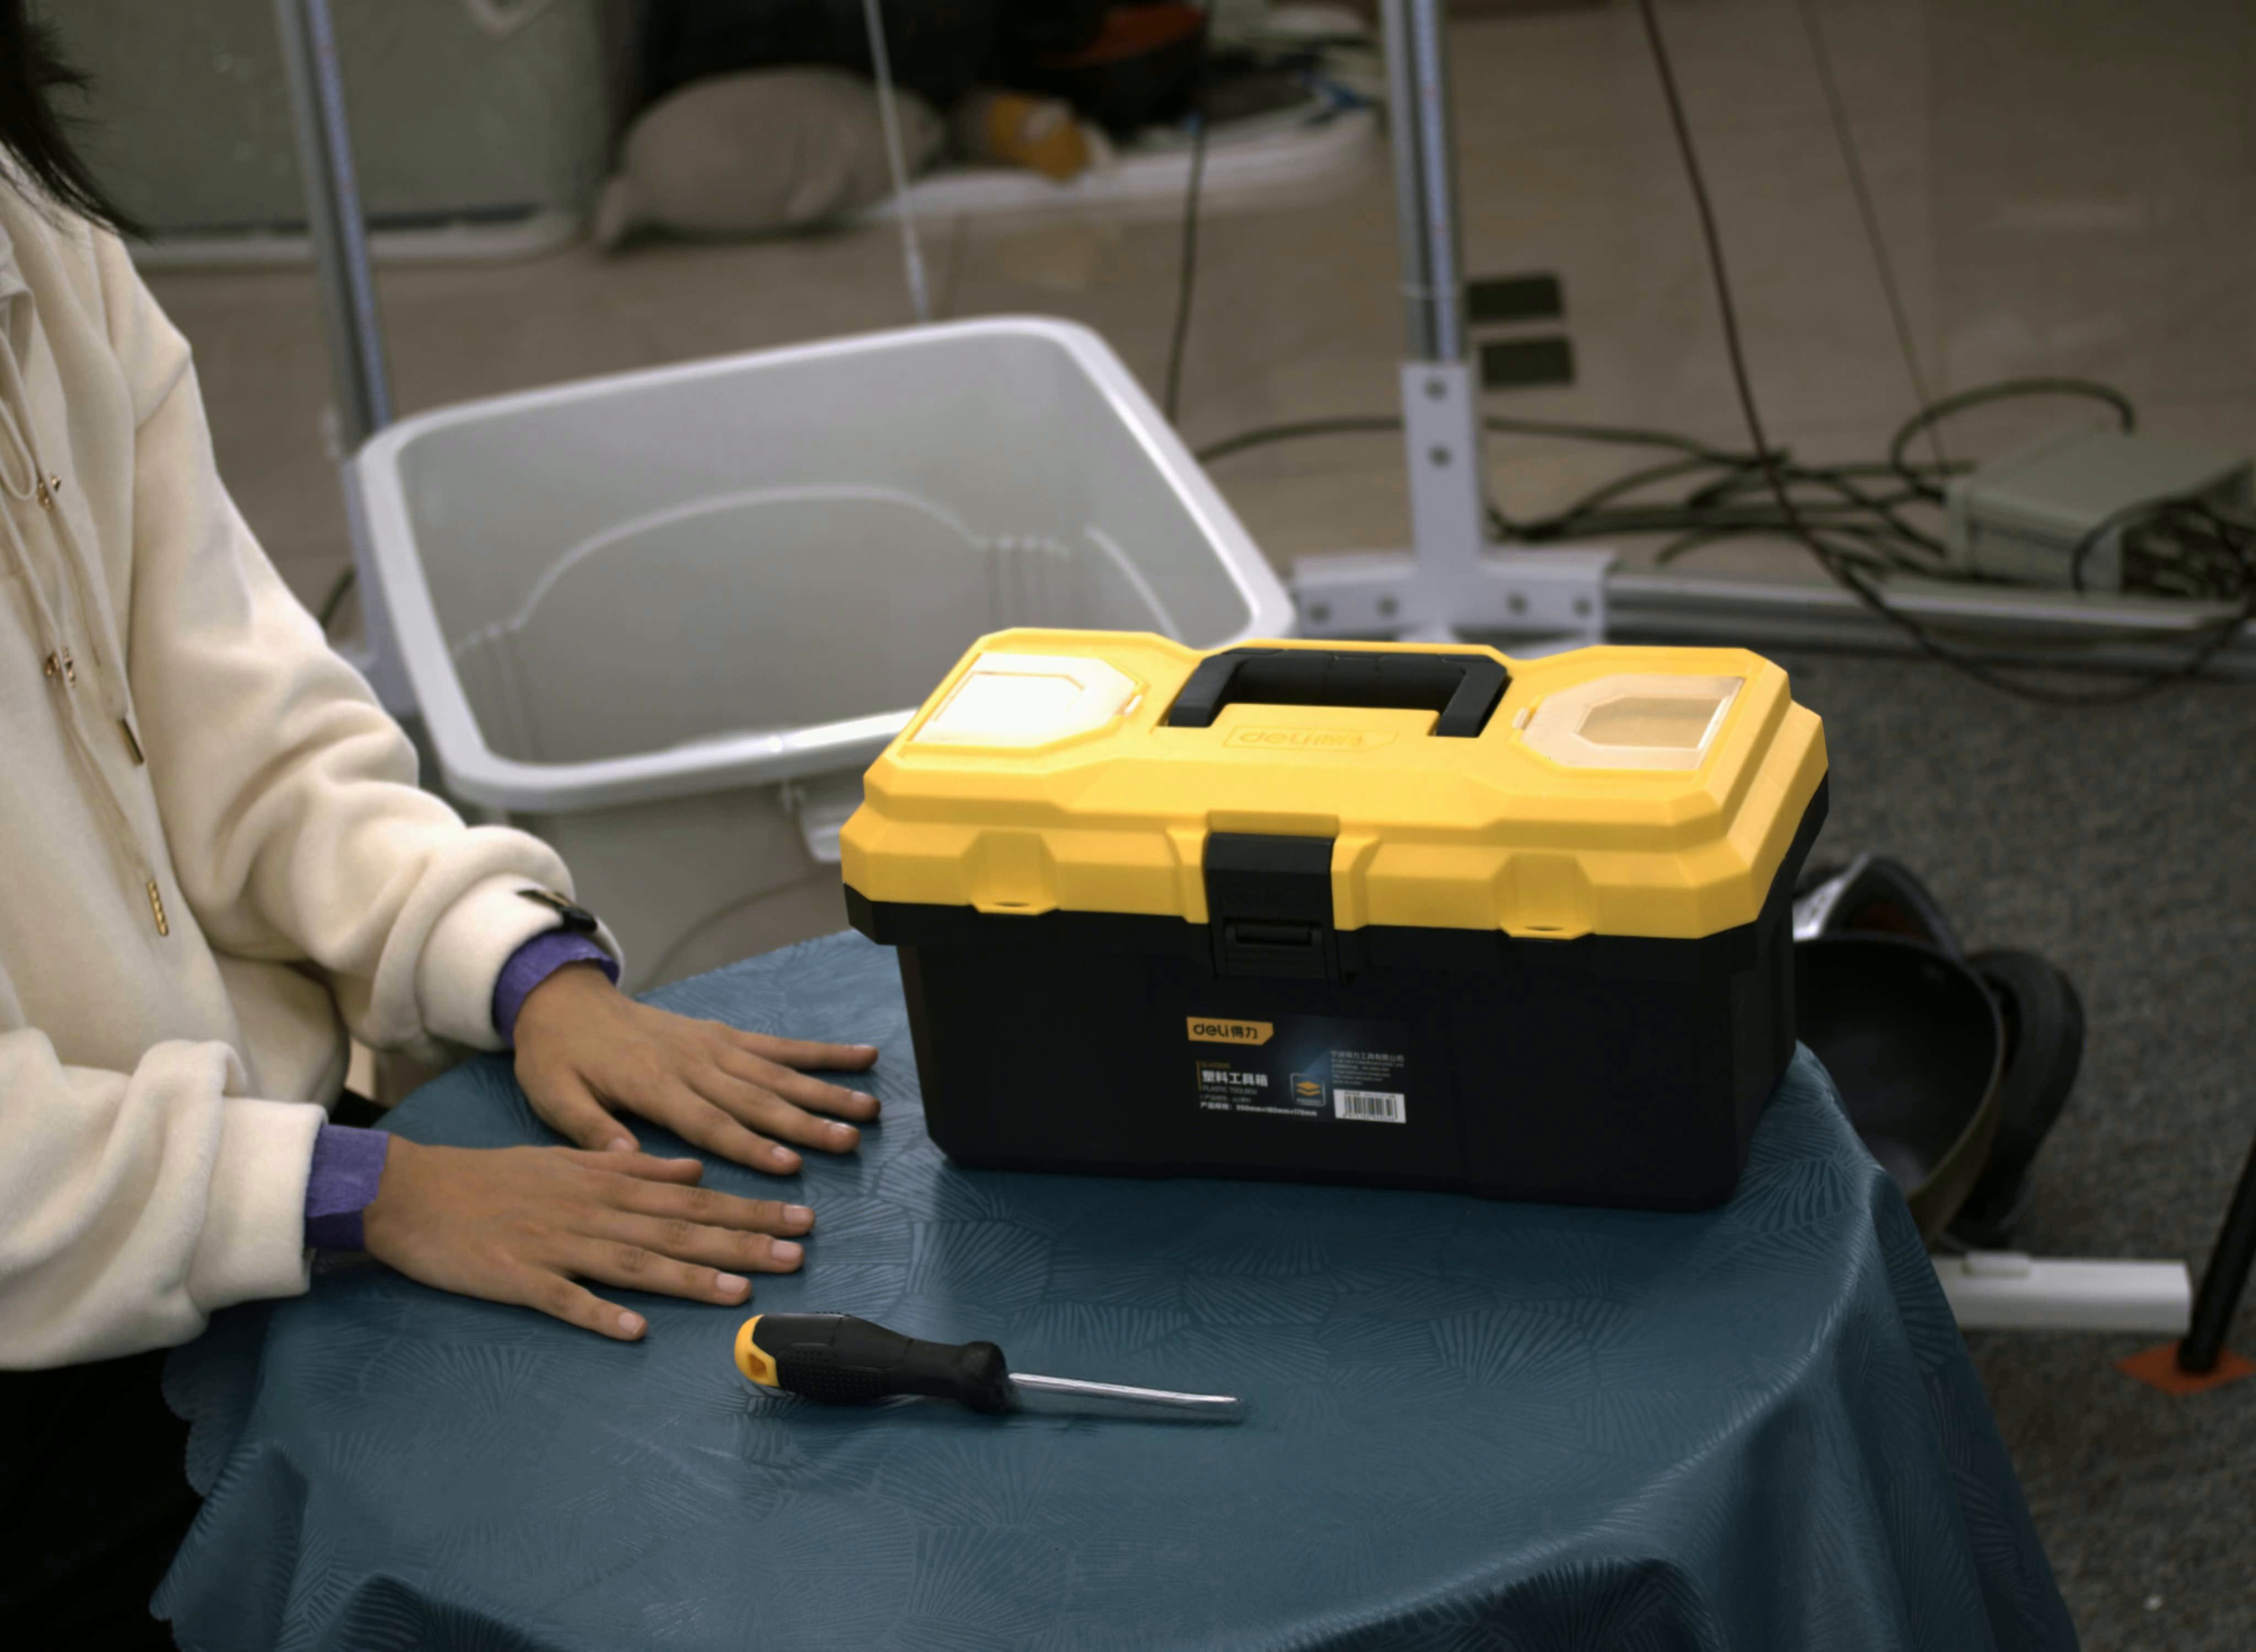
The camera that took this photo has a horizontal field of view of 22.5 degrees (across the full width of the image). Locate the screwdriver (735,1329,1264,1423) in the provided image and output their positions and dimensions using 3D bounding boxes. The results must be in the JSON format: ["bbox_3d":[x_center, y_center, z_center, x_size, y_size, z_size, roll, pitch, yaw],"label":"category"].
[{"bbox_3d":[-0.046,0.202,2.013,0.197,0.032,0.031,7,28,17],"label":"screwdriver"}]

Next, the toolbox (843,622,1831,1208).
[{"bbox_3d":[0.082,0.033,2.146,0.350,0.175,0.179,3,27,19],"label":"toolbox"}]
